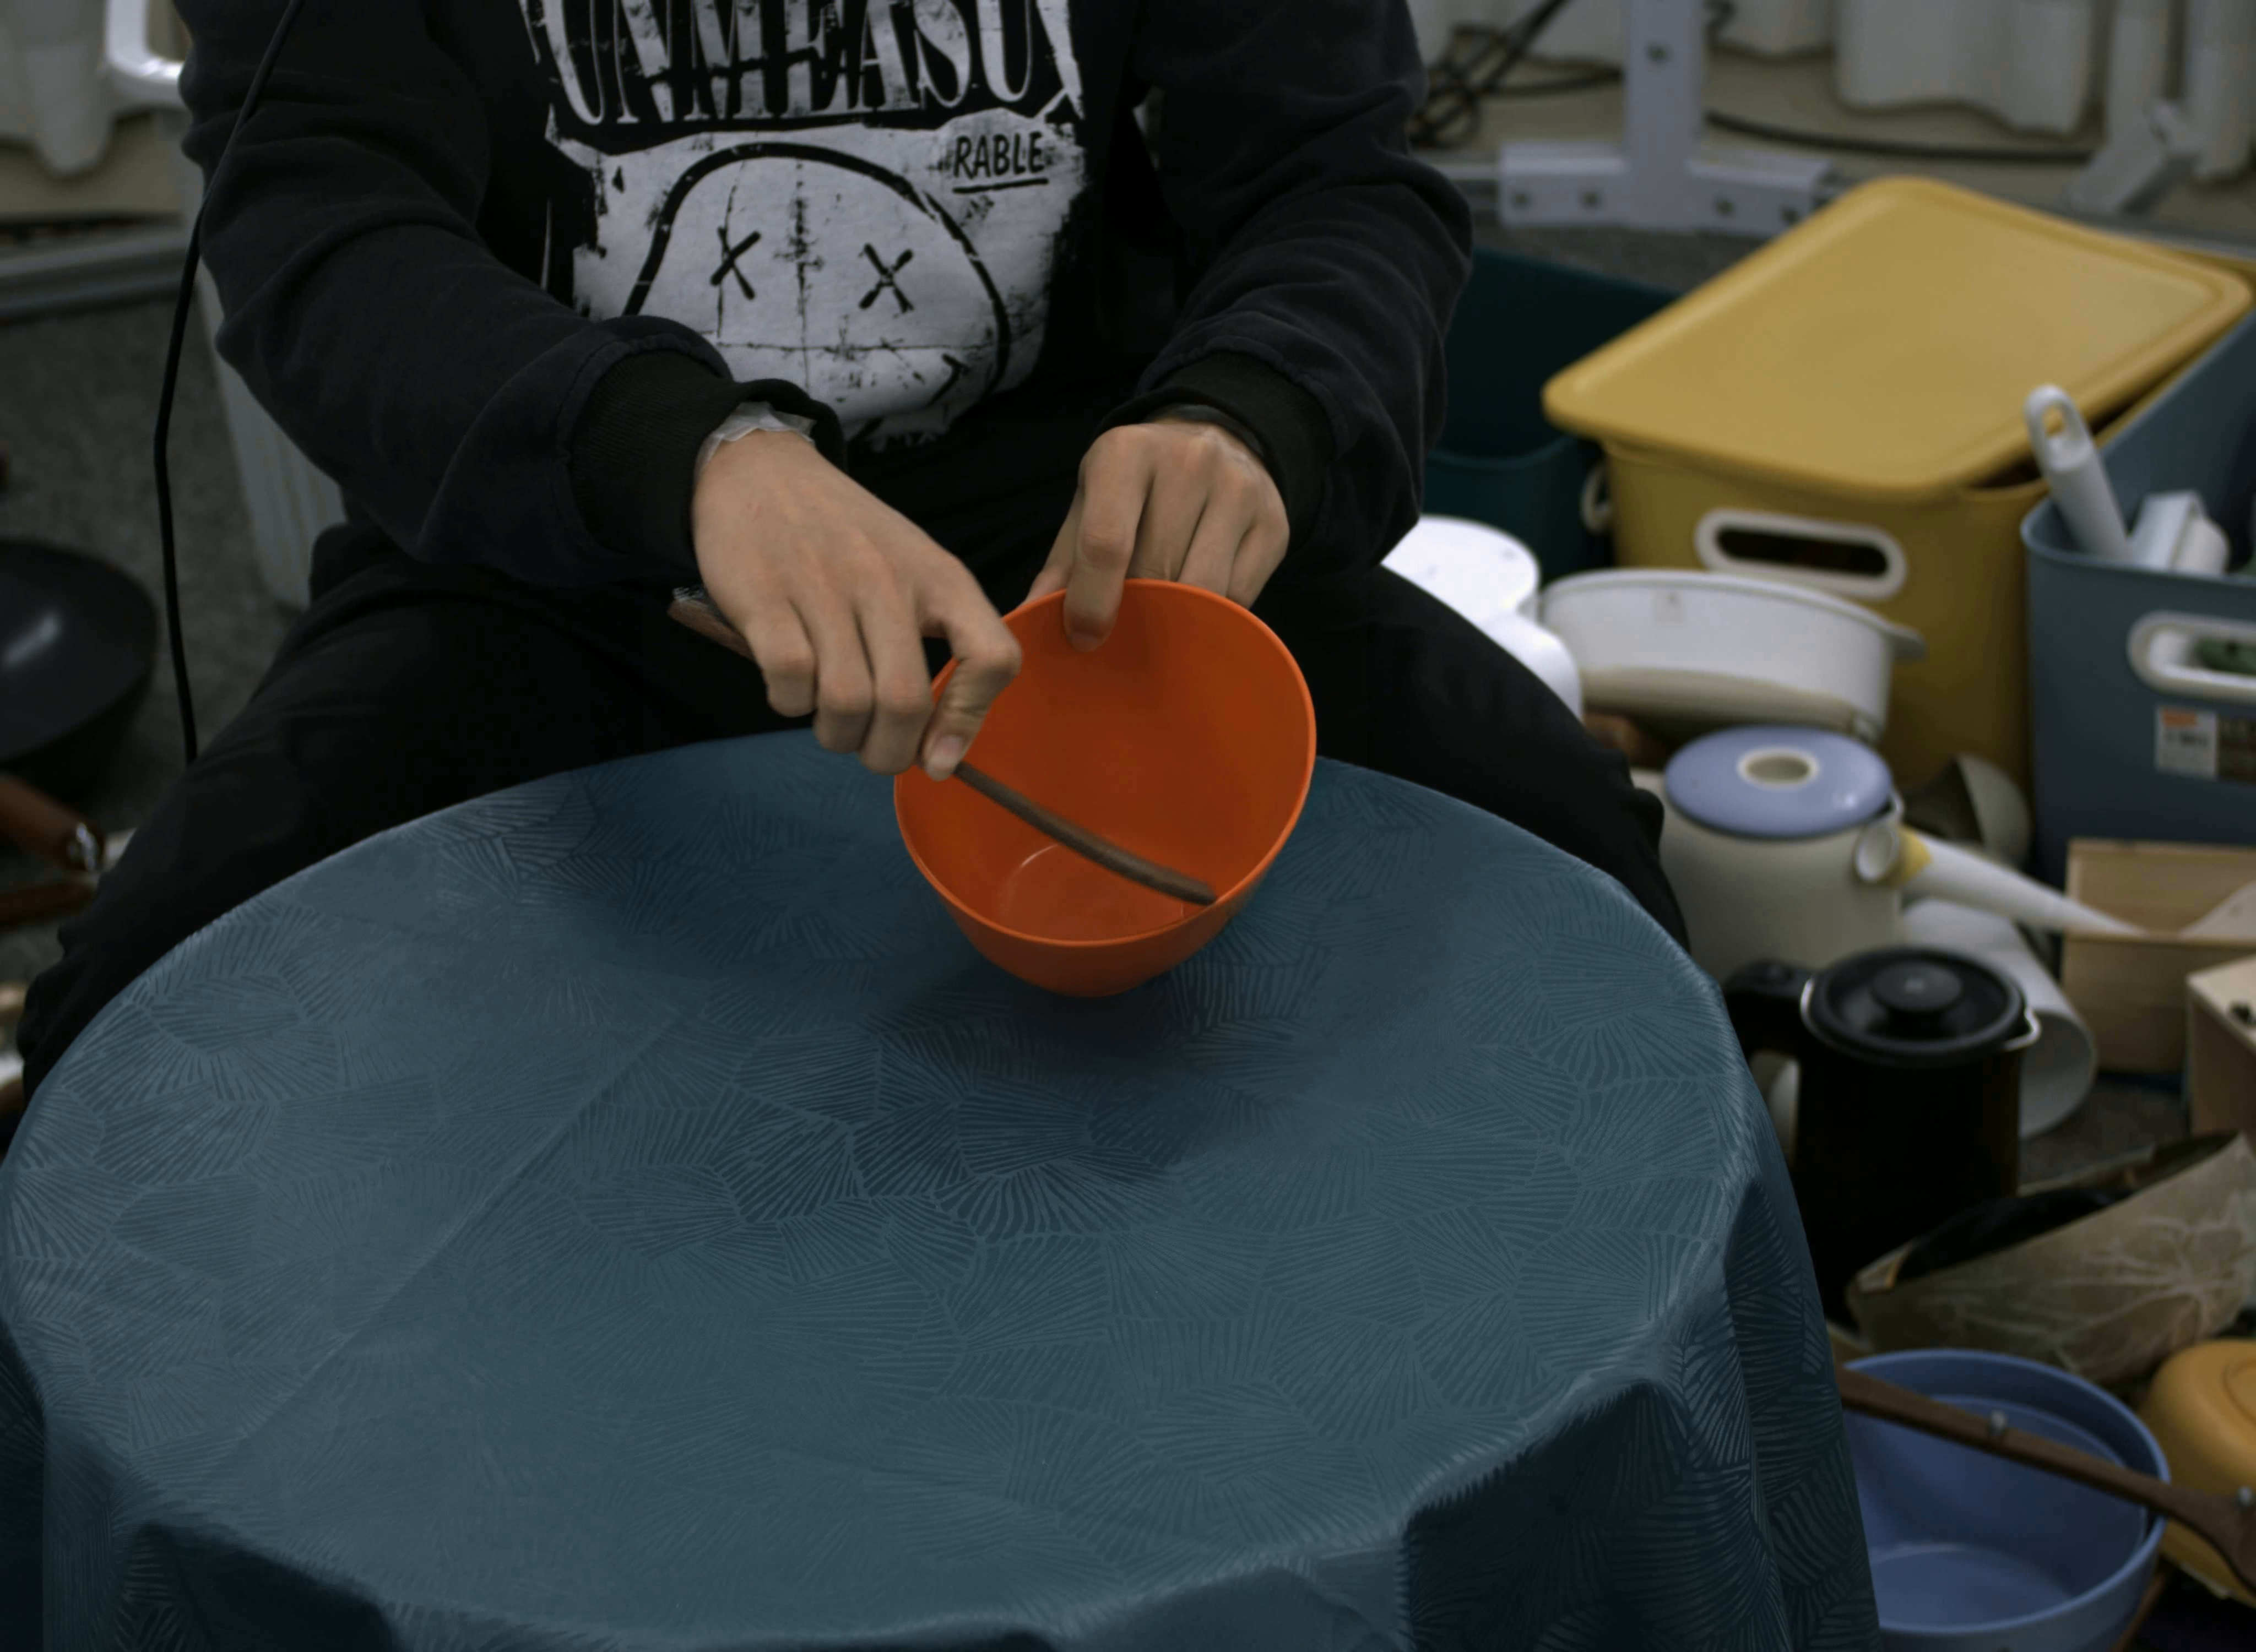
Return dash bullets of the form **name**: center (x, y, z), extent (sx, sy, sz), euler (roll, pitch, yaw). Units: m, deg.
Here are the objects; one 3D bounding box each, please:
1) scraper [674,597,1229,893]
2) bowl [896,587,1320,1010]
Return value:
- **scraper**: center (-0.060, -0.026, 1.902), extent (0.211, 0.011, 0.076), euler (29, 0, -3)
- **bowl**: center (-0.005, 0.004, 1.962), extent (0.147, 0.103, 0.151), euler (-1, 53, 2)
